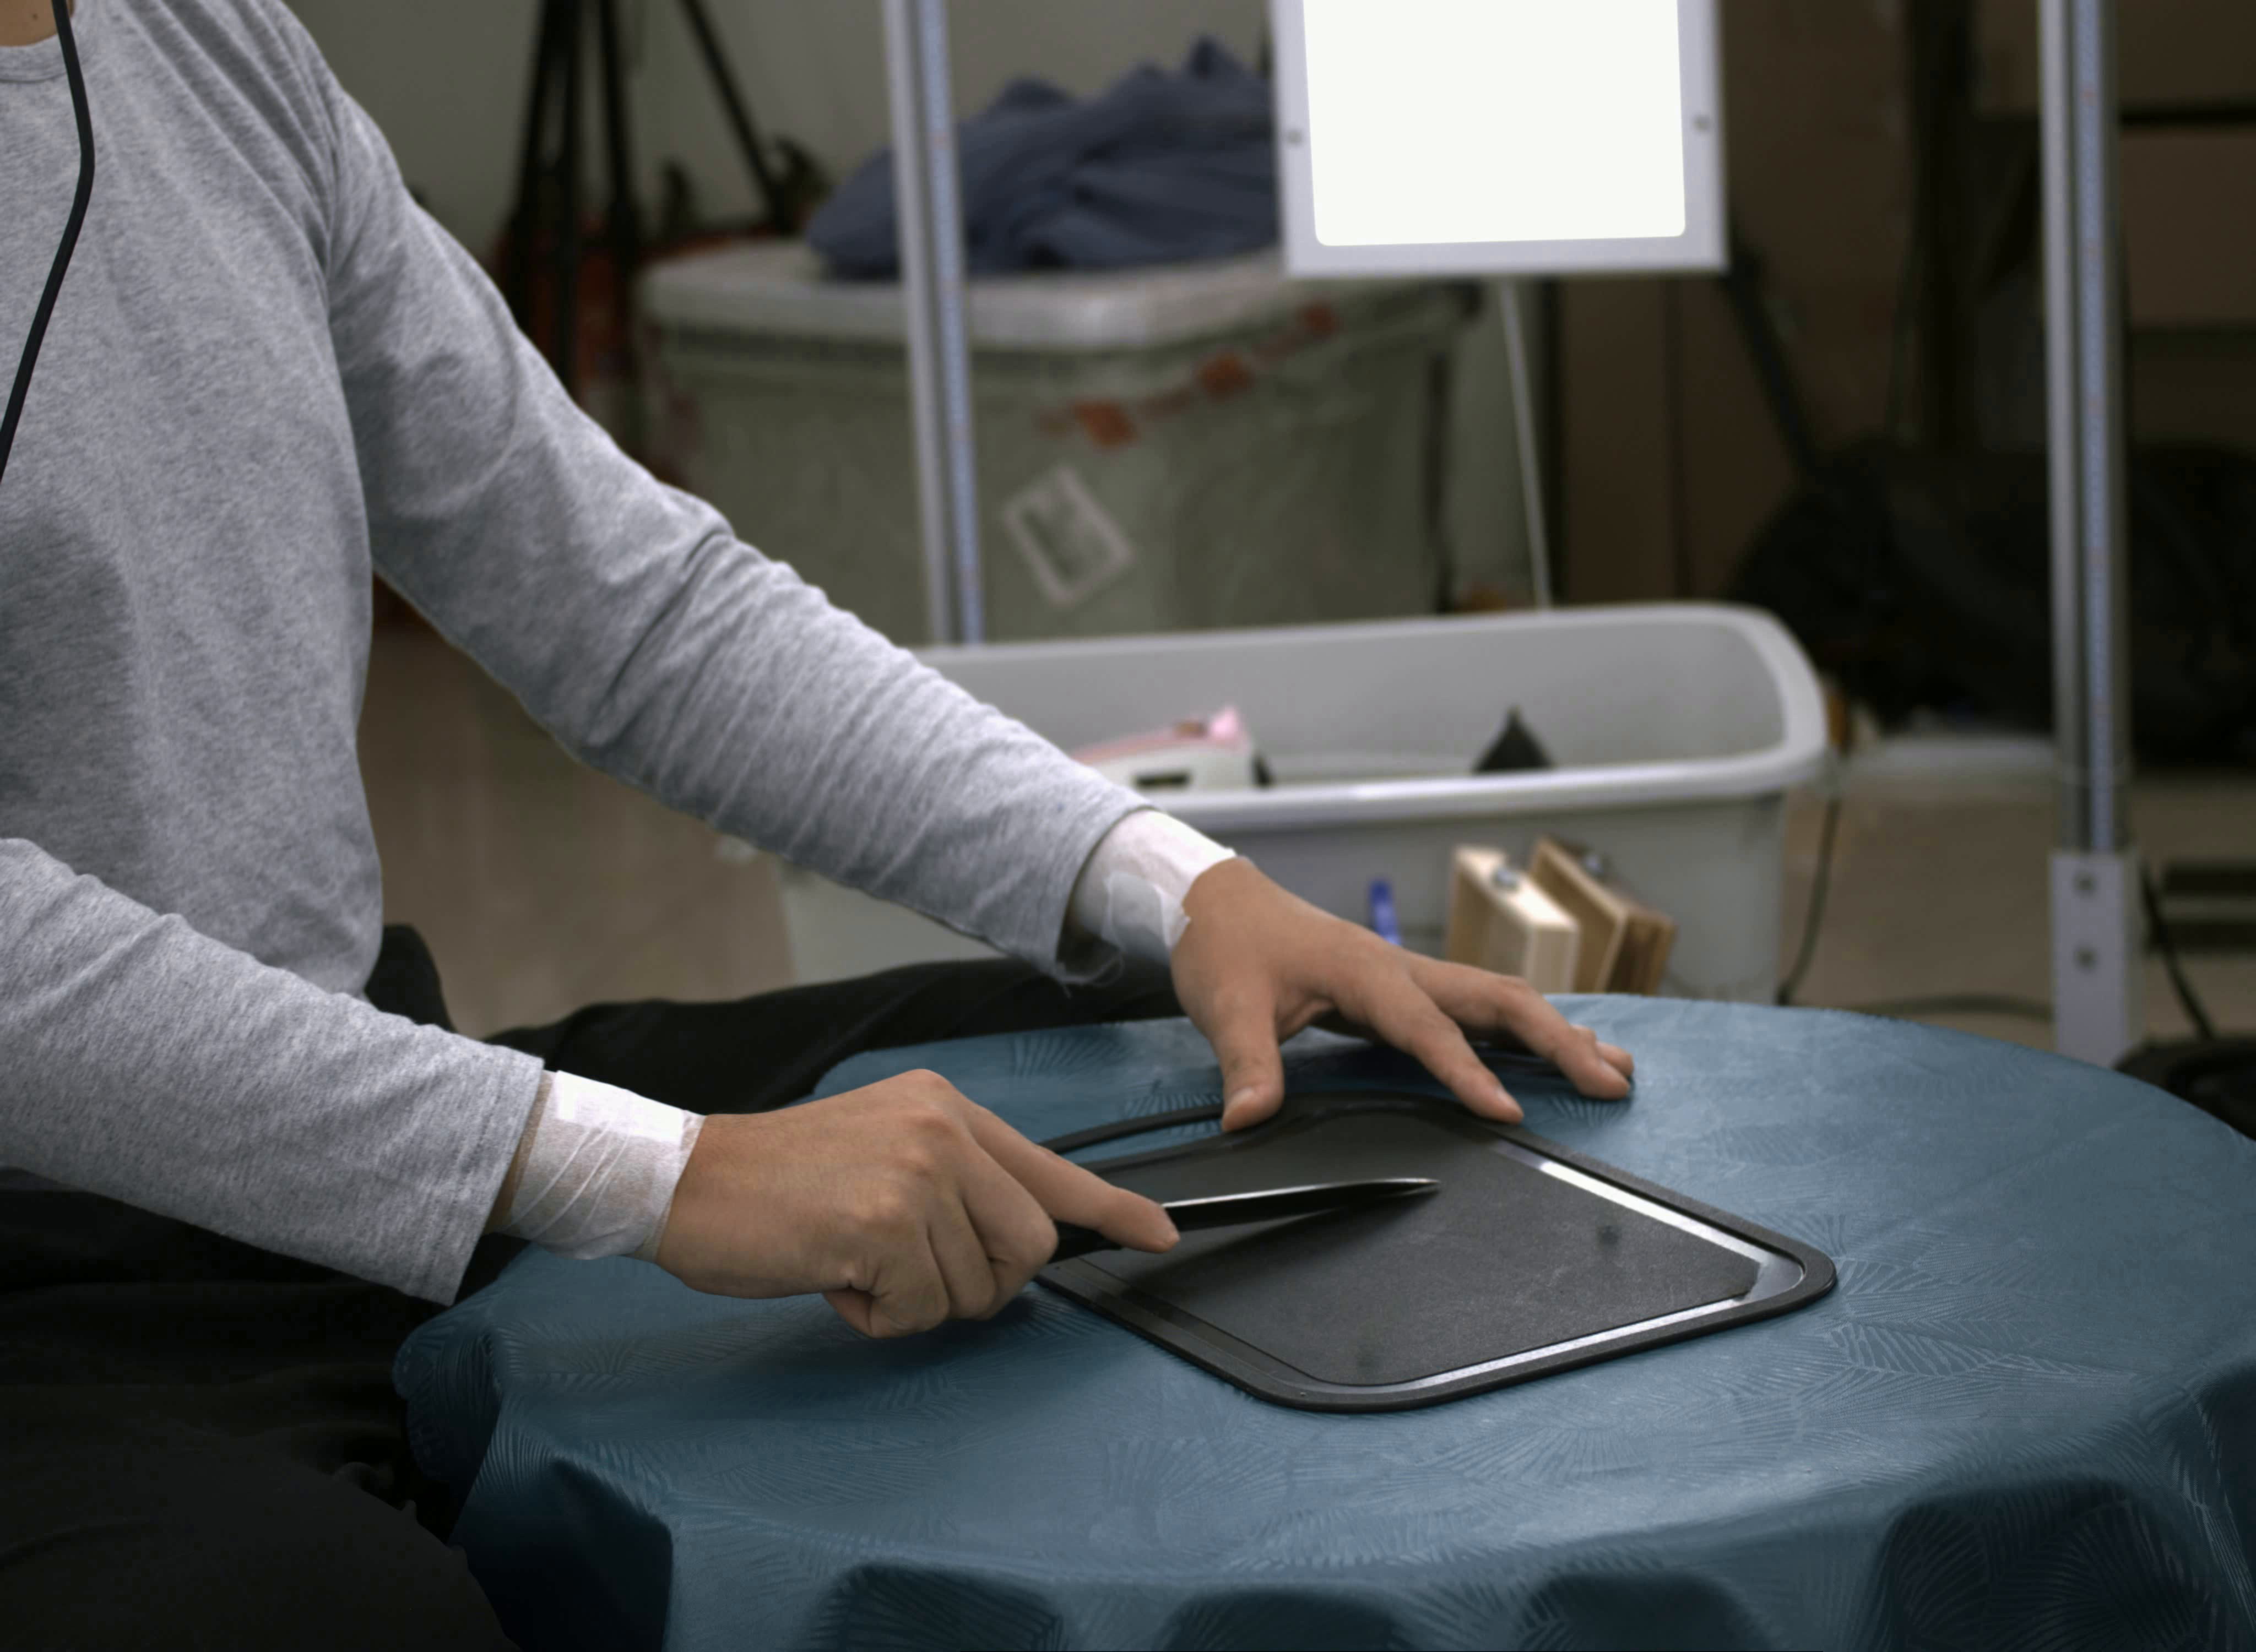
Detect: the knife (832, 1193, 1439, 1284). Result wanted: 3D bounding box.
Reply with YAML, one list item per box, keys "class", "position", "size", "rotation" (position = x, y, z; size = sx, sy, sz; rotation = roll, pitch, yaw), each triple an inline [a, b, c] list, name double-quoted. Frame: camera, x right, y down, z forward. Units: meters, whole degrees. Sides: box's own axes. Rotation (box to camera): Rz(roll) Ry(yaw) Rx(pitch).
- class: "knife"
  position: [0.009, 0.131, 1.809]
  size: [0.232, 0.016, 0.025]
  rotation: [-4, -27, -31]

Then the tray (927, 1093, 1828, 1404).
- class: "tray"
  position: [0.073, 0.134, 1.834]
  size: [0.207, 0.010, 0.331]
  rotation: [-11, 15, -25]
